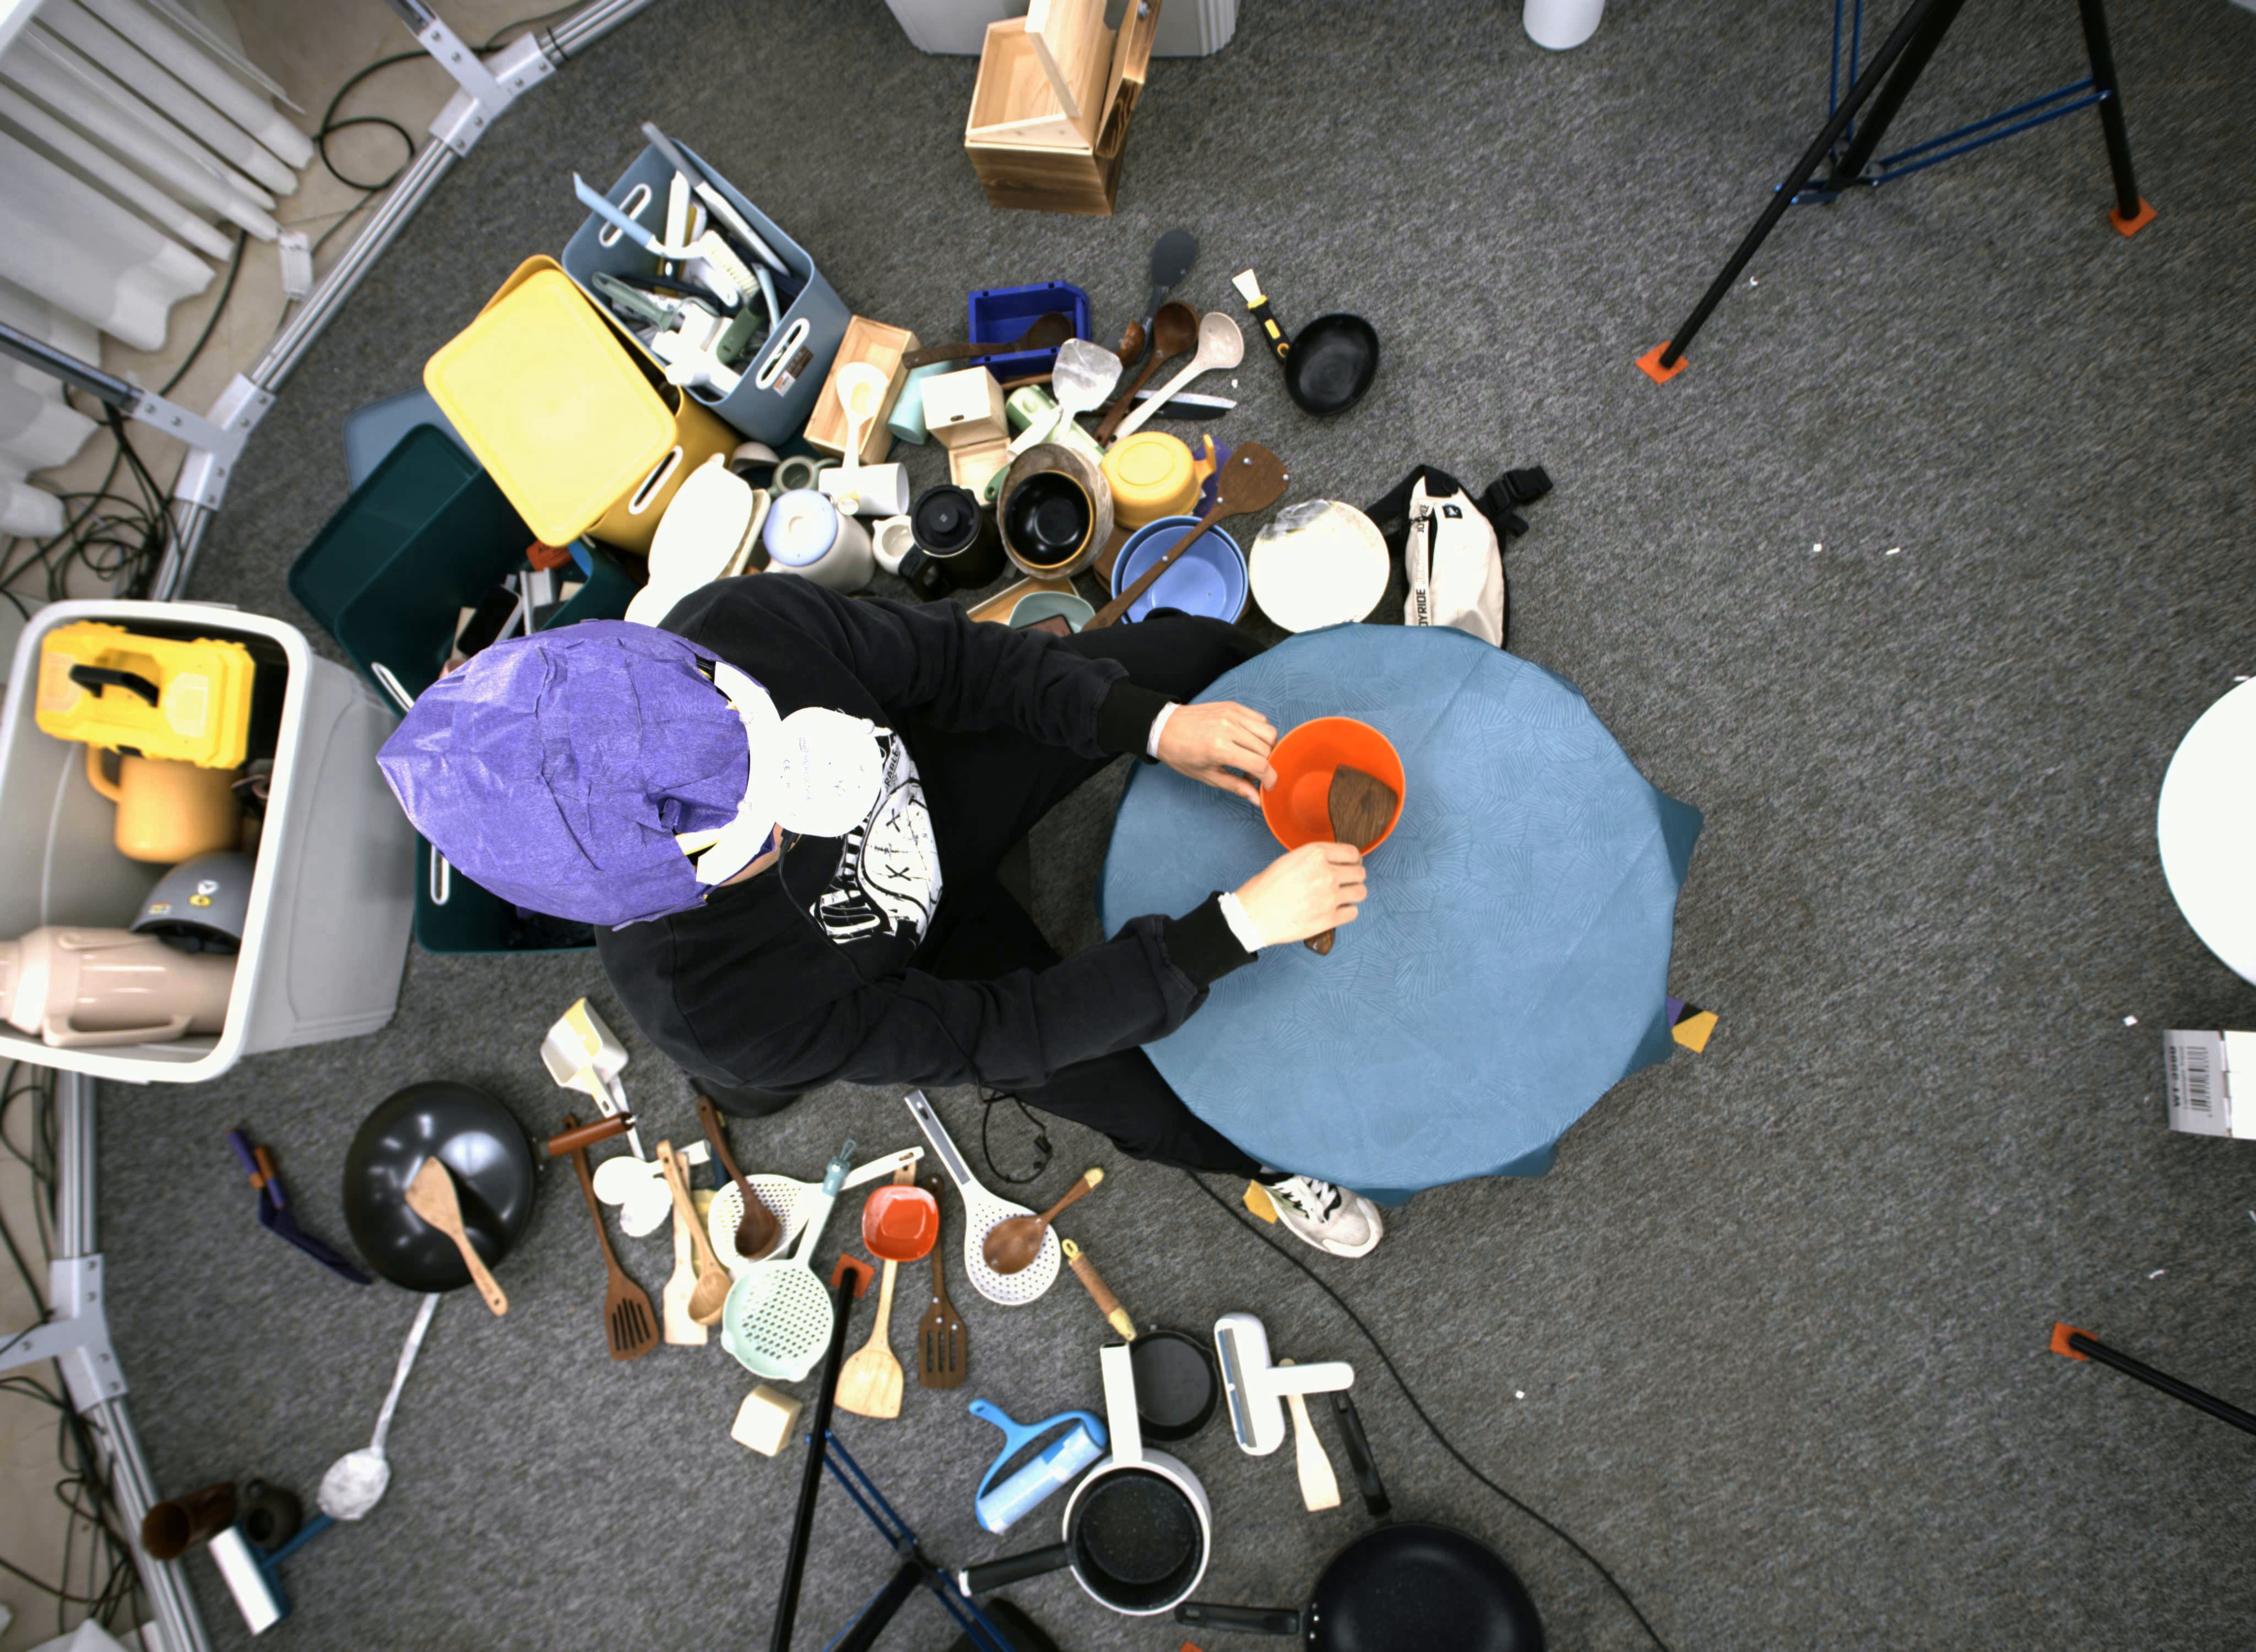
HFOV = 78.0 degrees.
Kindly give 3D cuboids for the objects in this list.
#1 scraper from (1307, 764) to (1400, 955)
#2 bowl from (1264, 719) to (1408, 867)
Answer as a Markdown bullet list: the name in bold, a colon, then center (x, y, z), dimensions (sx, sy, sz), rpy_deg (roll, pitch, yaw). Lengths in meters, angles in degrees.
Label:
- **scraper**: center (0.212, 0.033, 1.349), dimensions (0.076, 0.011, 0.206), rpy_deg (27, 61, -9)
- **bowl**: center (0.208, -0.033, 1.425), dimensions (0.148, 0.104, 0.148), rpy_deg (0, 91, -2)
